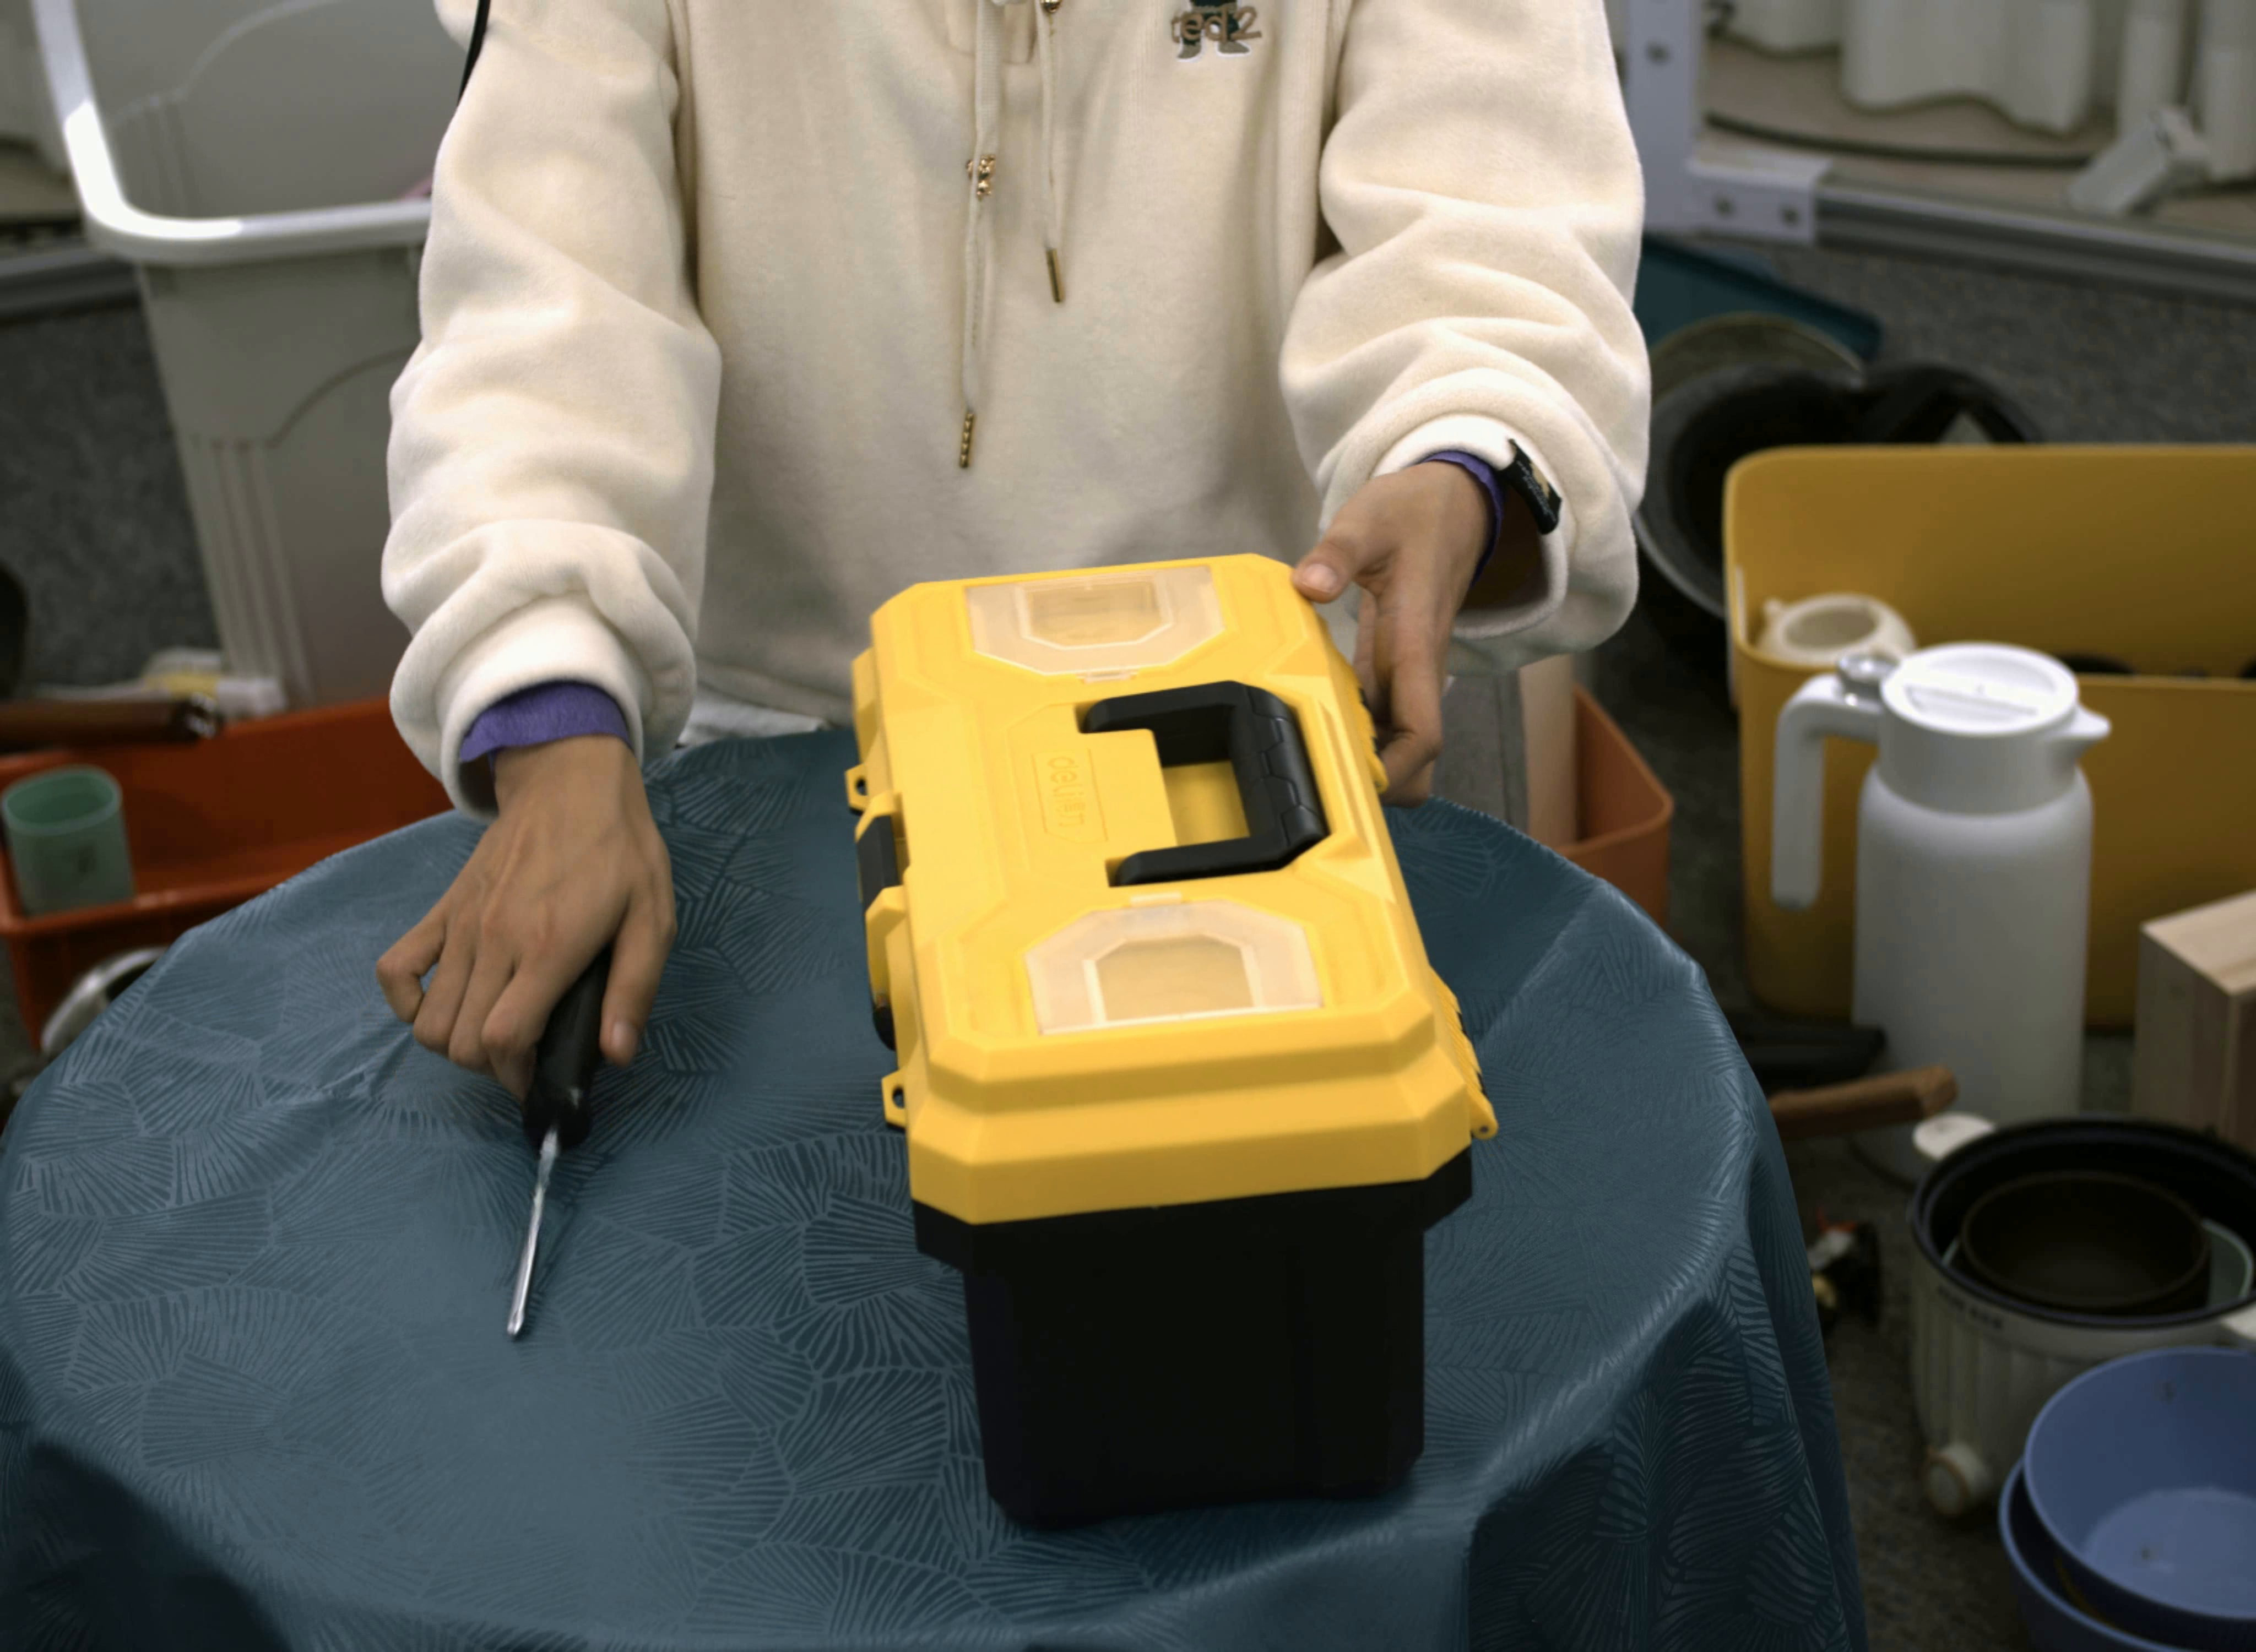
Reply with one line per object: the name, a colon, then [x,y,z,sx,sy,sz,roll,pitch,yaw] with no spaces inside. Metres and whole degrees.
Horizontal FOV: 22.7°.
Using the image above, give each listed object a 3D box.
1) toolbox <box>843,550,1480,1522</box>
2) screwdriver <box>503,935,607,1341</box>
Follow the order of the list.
toolbox: [0.007,0.060,1.793,0.180,0.171,0.356,-5,27,-3]
screwdriver: [-0.197,0.102,1.870,0.031,0.031,0.200,-1,35,4]
